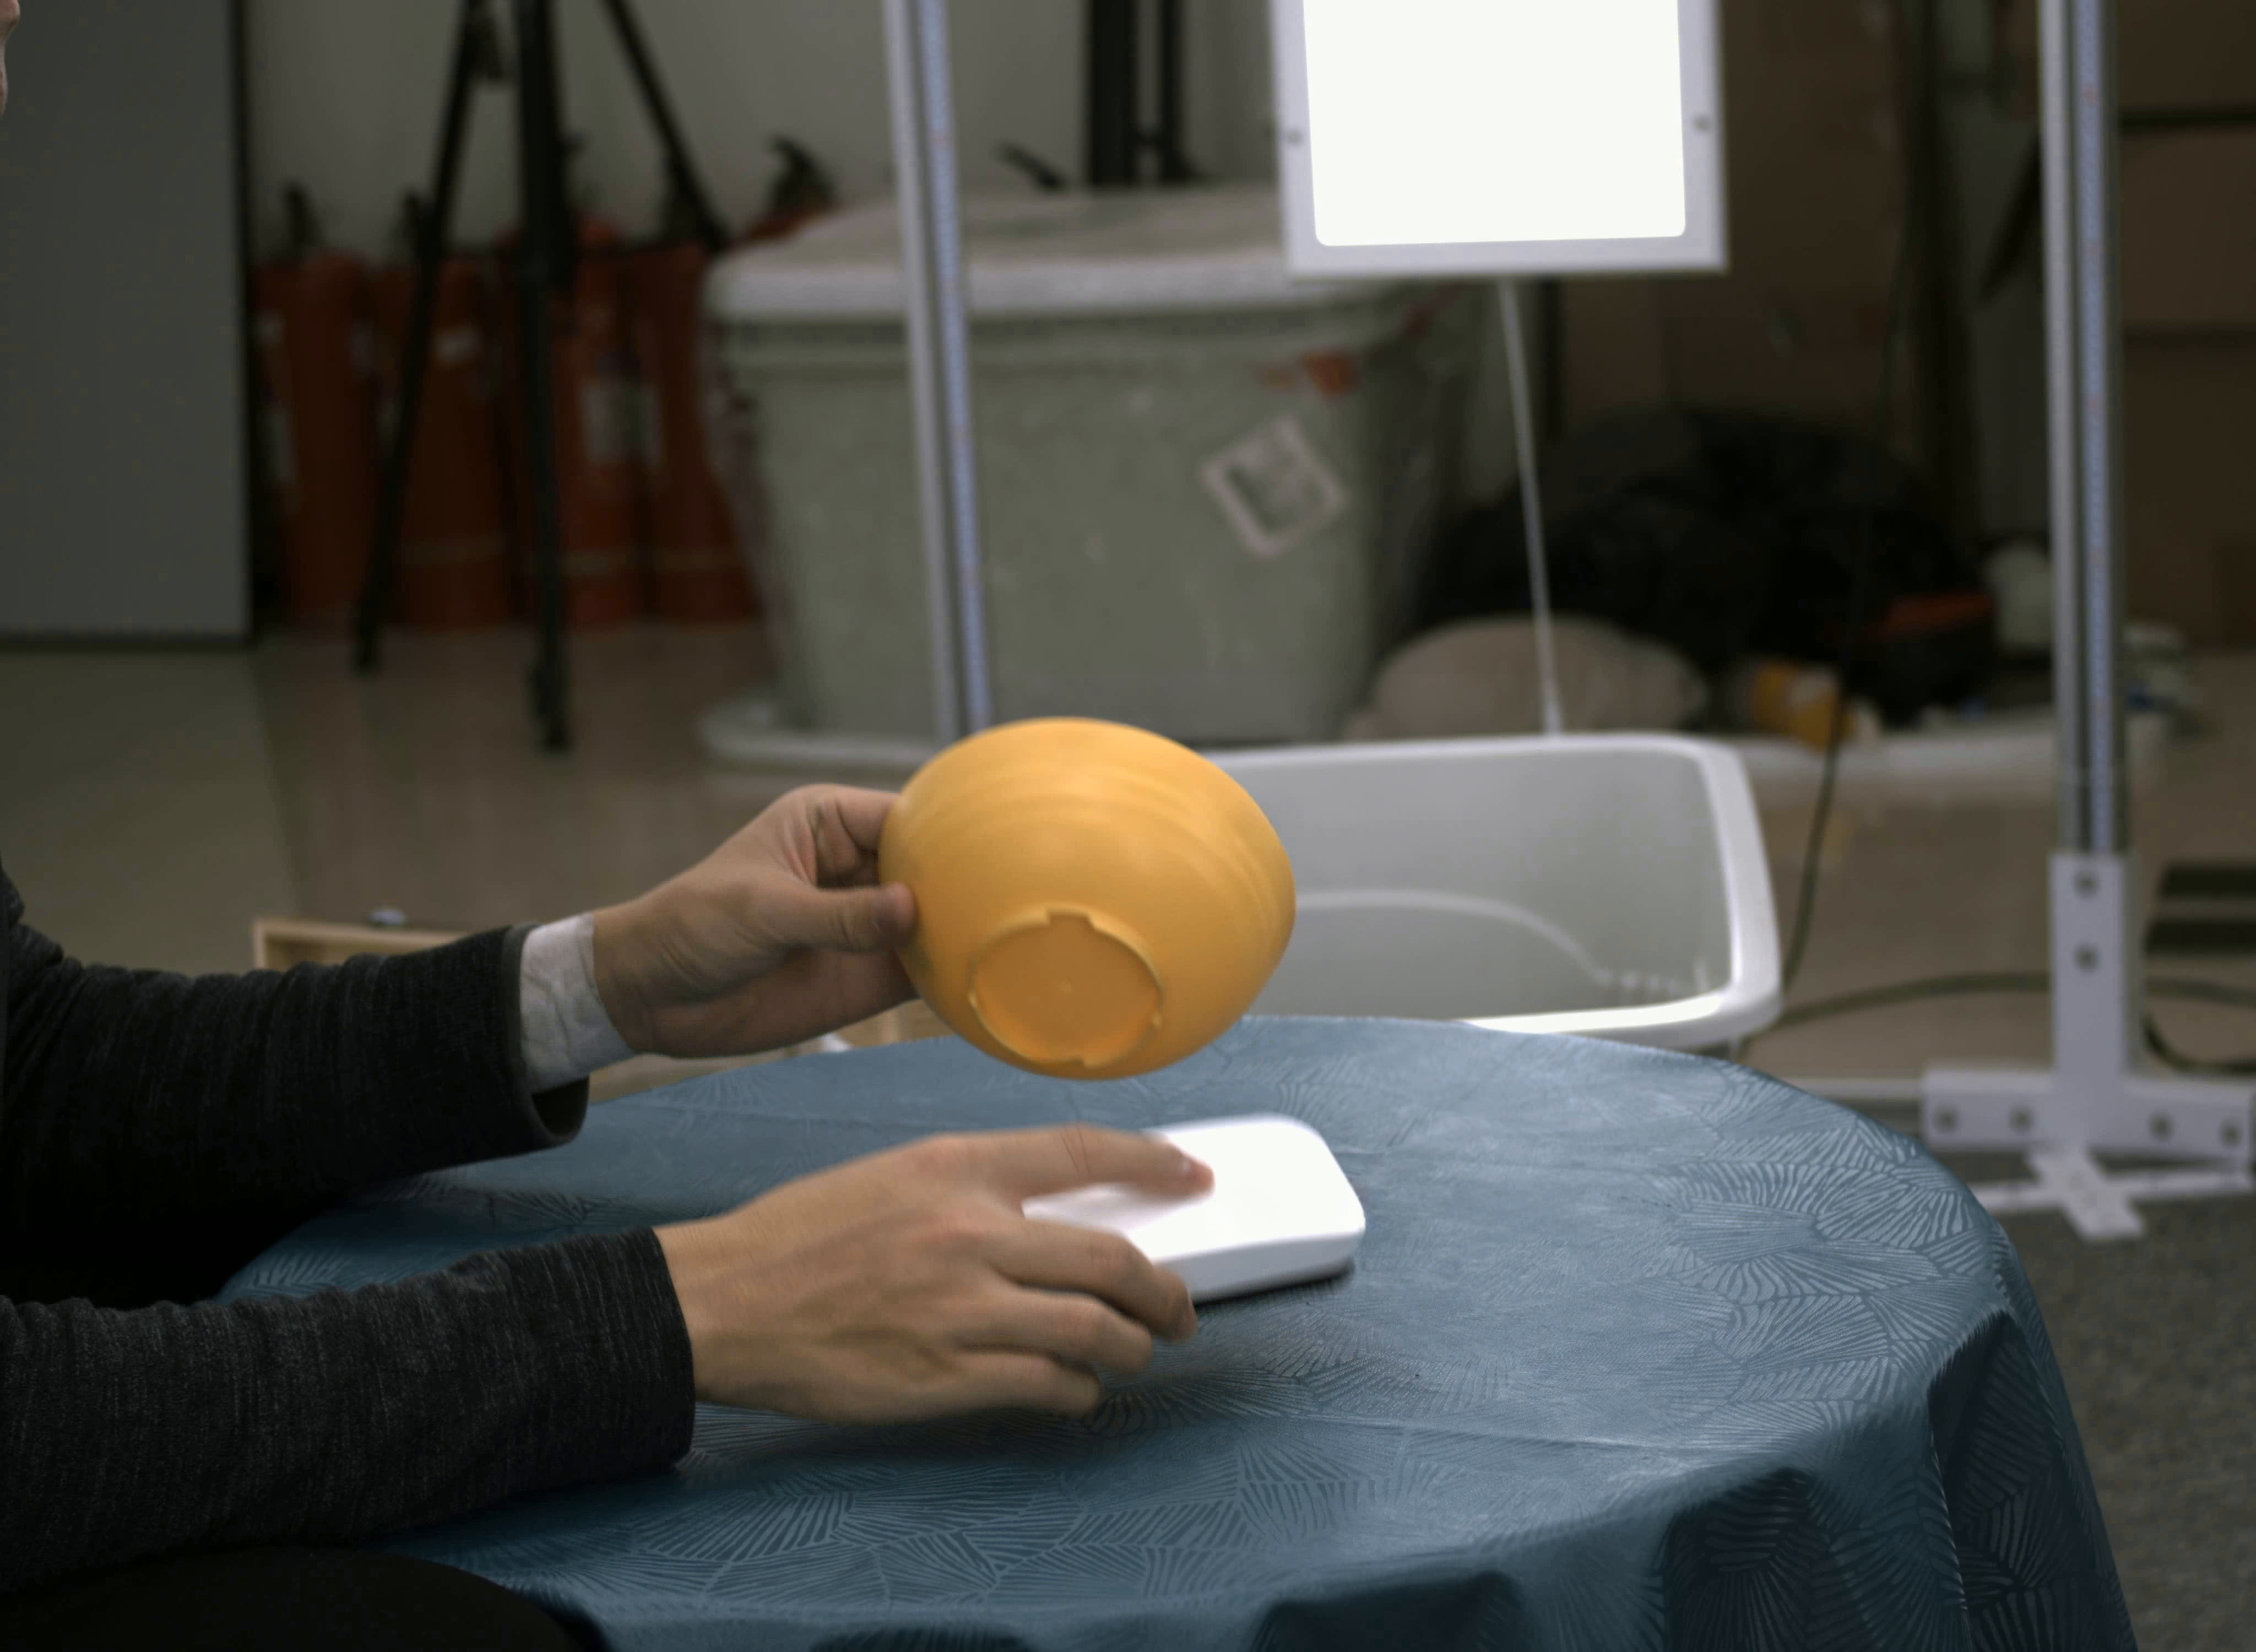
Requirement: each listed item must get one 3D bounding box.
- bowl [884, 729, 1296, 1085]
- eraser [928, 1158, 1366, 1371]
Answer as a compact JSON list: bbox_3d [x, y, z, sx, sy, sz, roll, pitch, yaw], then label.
[{"bbox_3d":[-0.016,0.041,1.860,0.146,0.145,0.059,-1,41,11],"label":"bowl"},{"bbox_3d":[0.006,0.132,1.693,0.129,0.035,0.064,-7,31,-12],"label":"eraser"}]
